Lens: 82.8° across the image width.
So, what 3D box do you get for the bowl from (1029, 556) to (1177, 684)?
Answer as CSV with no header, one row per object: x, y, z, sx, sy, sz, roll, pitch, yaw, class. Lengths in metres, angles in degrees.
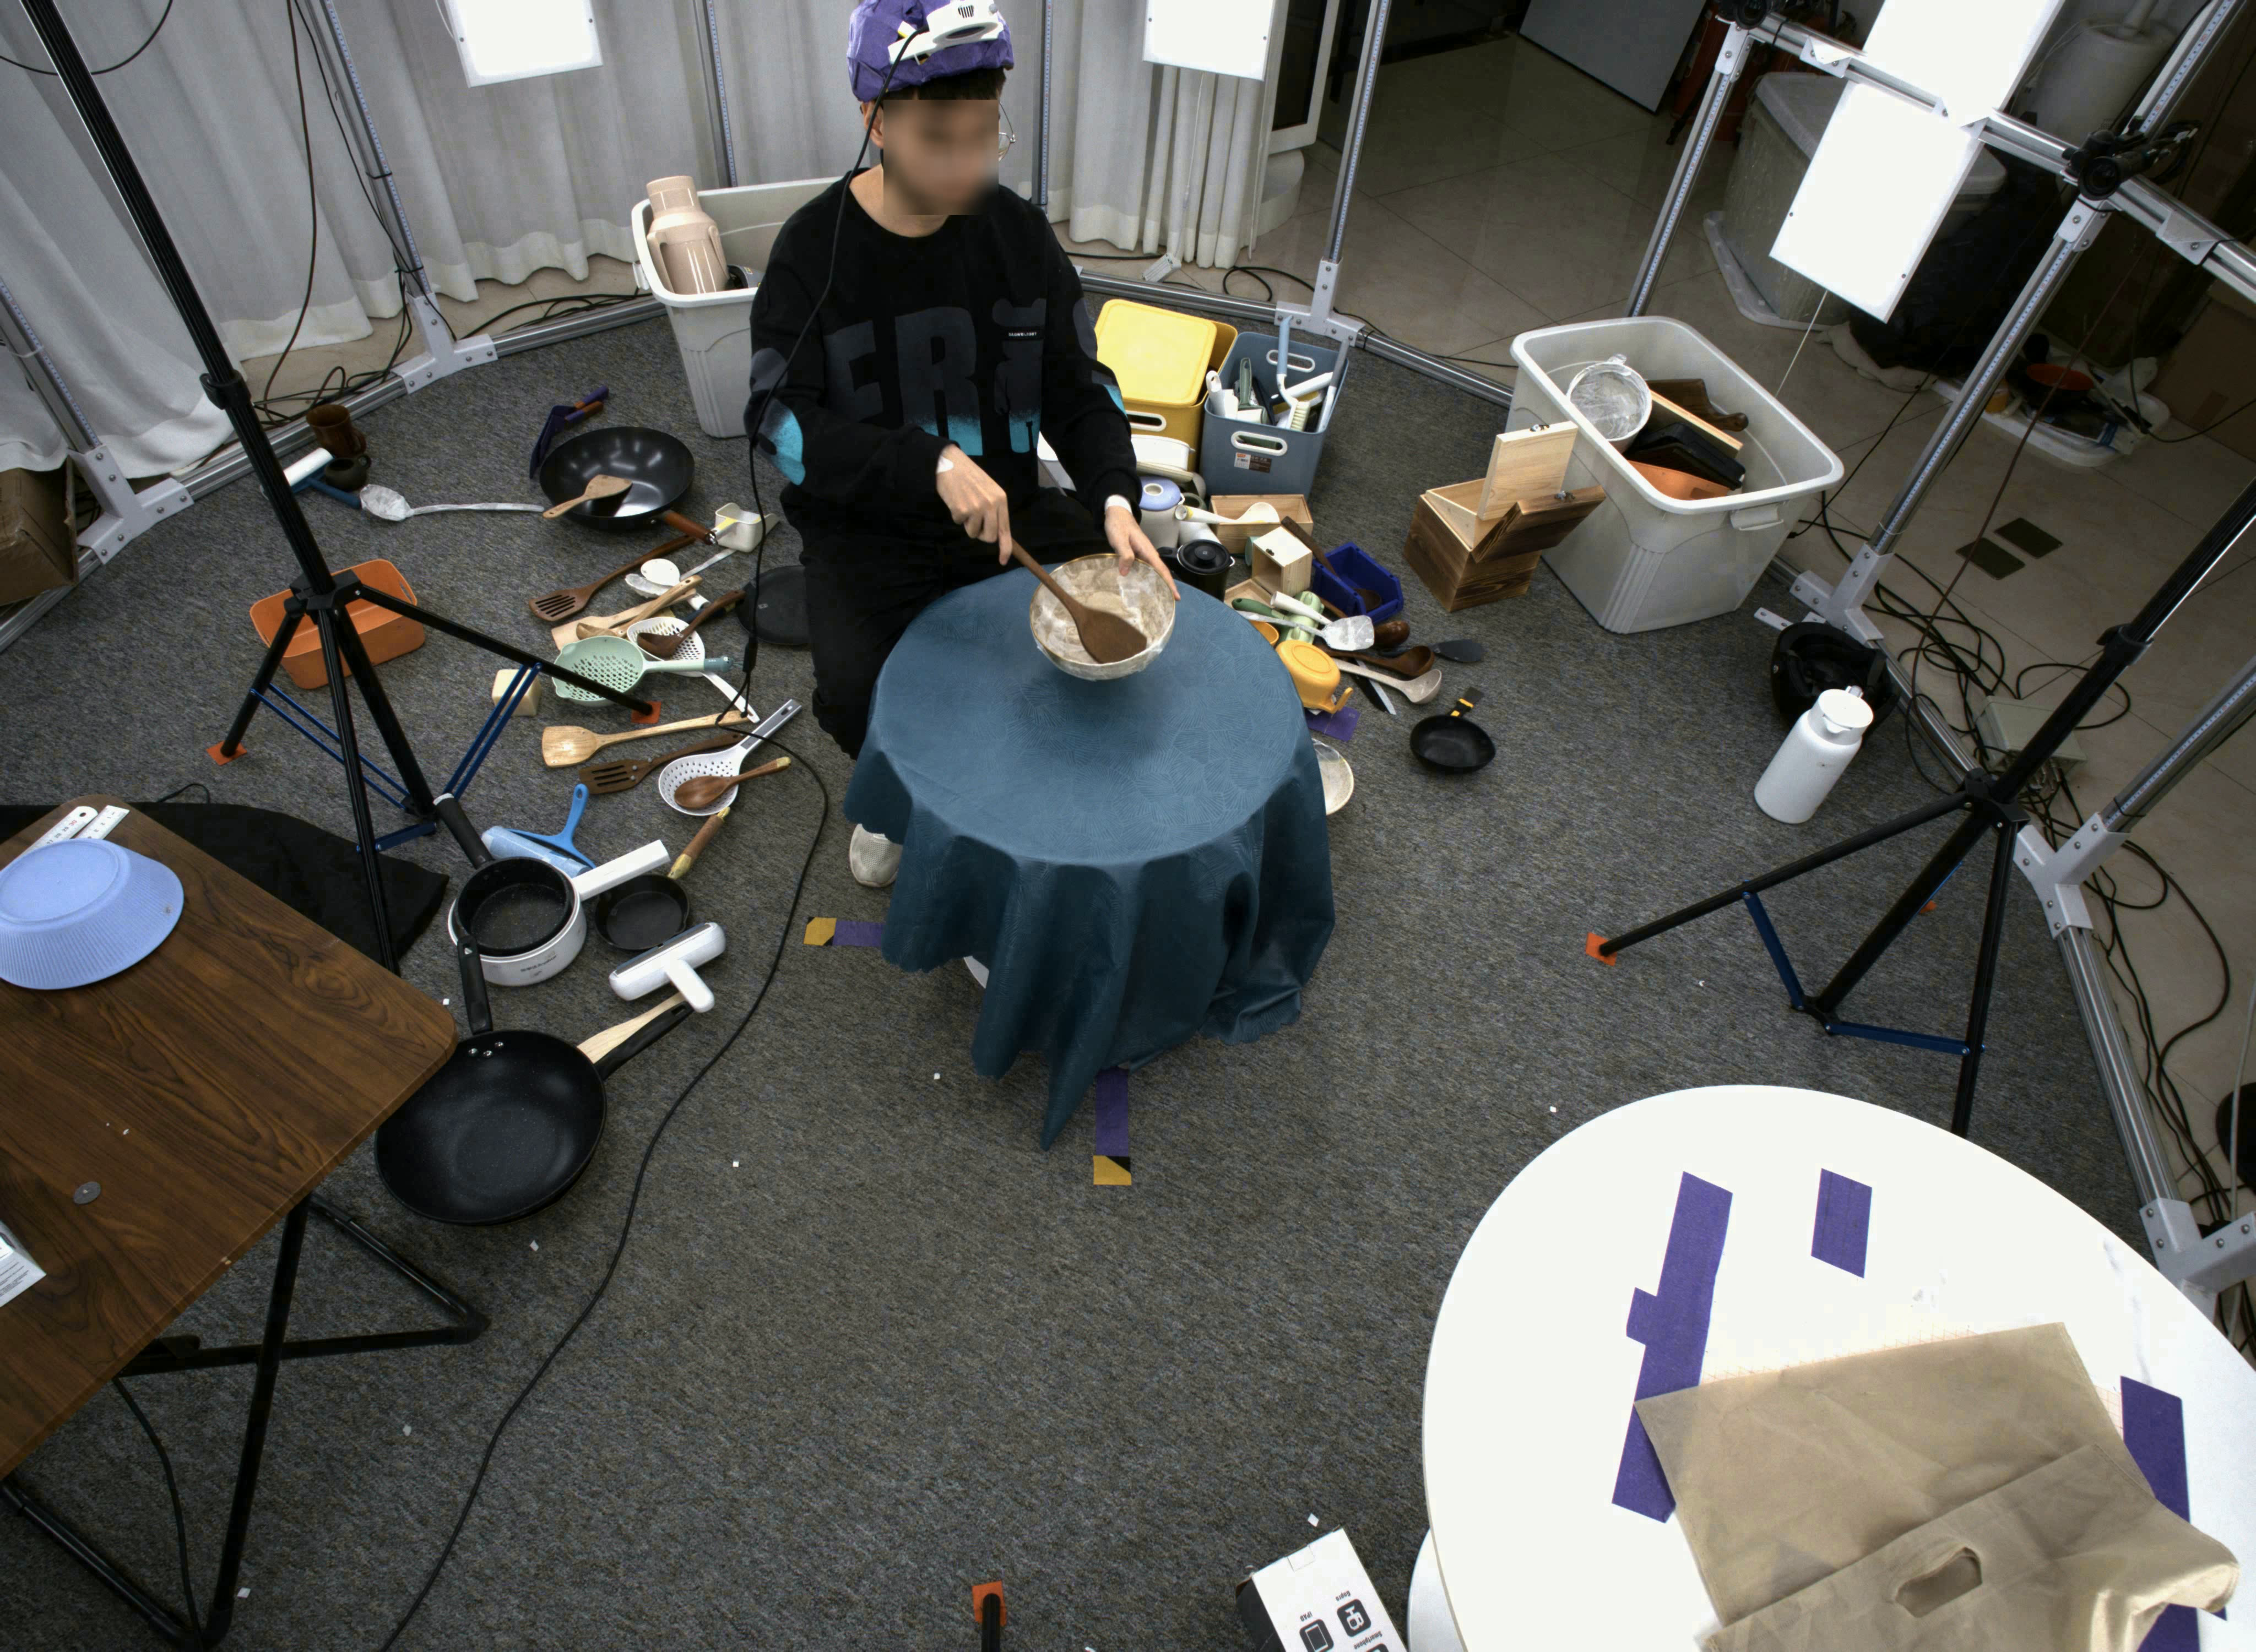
-0.029,-0.275,1.800,0.215,0.092,0.220,-4,54,5,bowl

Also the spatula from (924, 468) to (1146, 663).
-0.129,-0.354,1.763,0.384,0.015,0.098,42,51,-6,spatula
